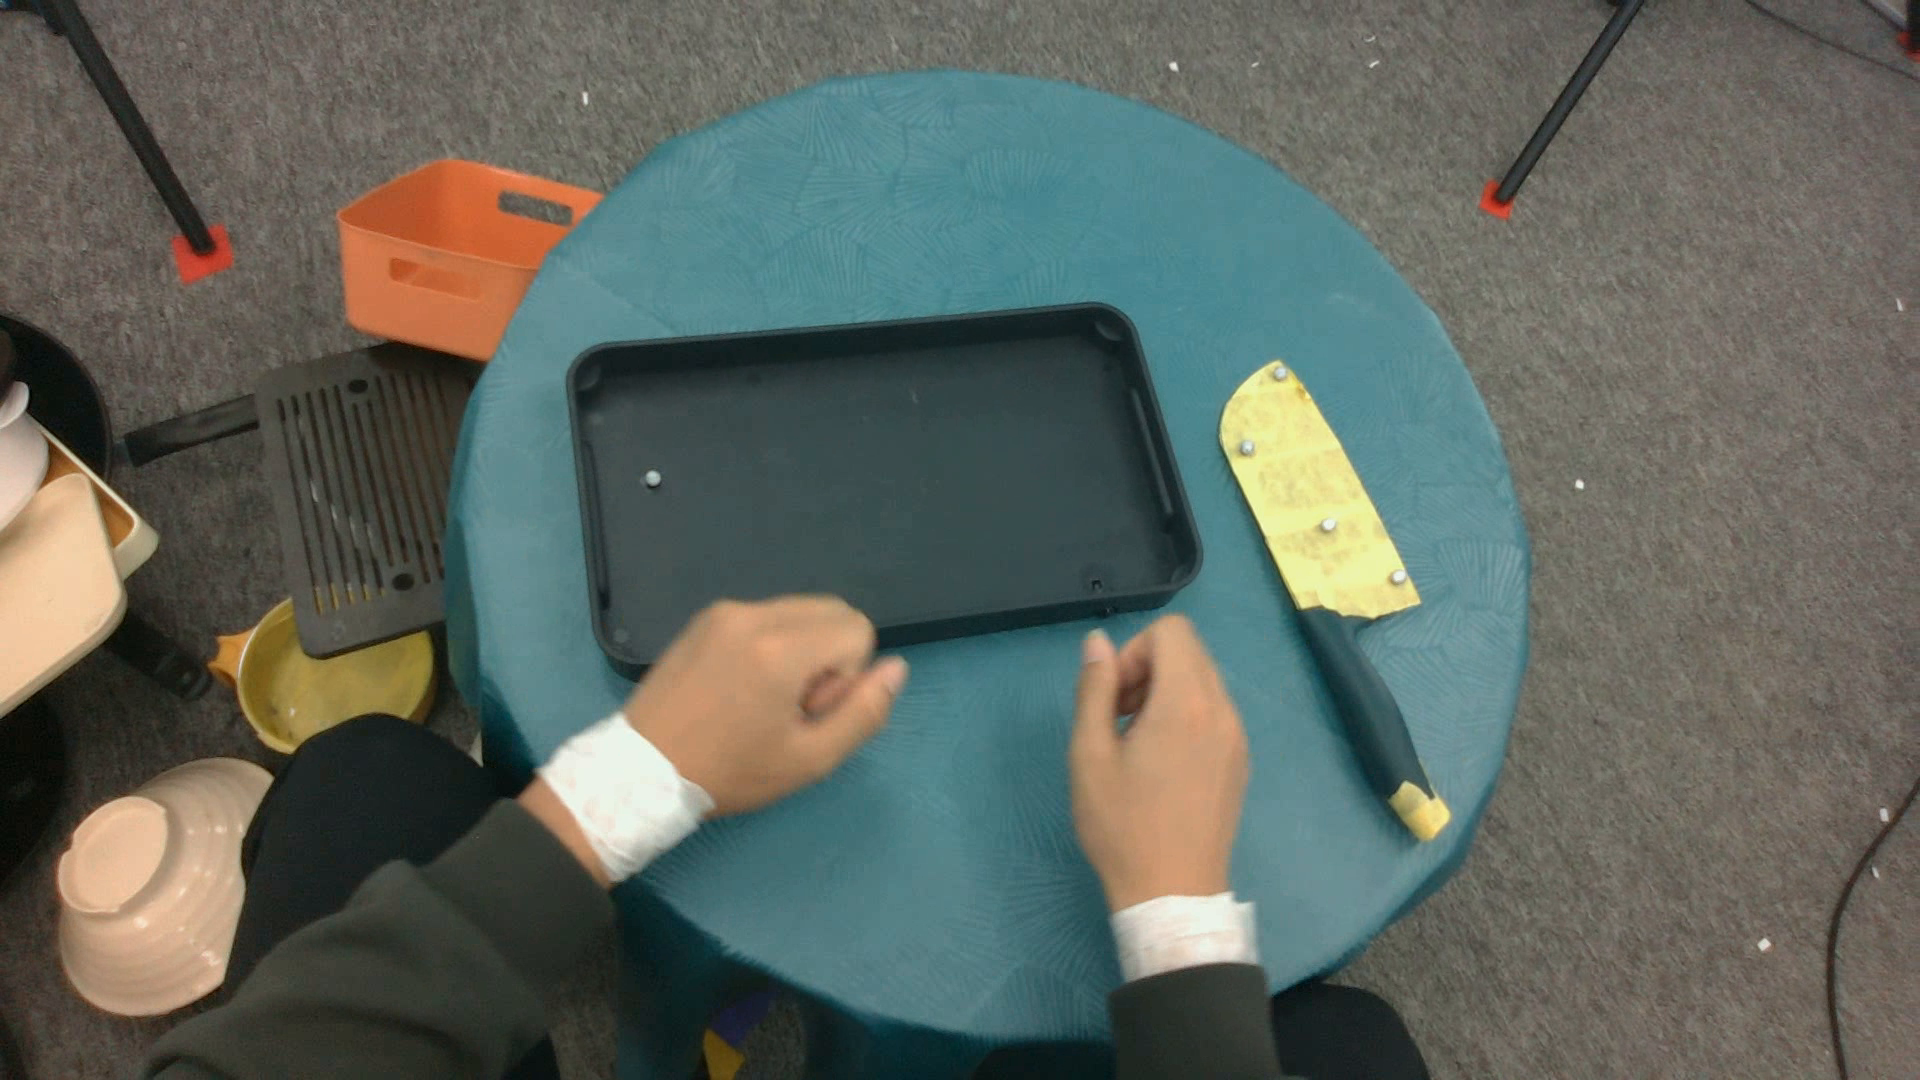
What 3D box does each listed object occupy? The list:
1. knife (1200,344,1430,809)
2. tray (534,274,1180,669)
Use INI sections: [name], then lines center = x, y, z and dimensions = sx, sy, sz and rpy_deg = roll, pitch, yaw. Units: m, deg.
[knife]
center = 0.206, 0.009, 0.774
dimensions = 0.081, 0.027, 0.290
rpy_deg = -11, 66, -14
[tray]
center = -0.054, -0.043, 0.737
dimensions = 0.318, 0.037, 0.185
rpy_deg = -9, 67, -15
